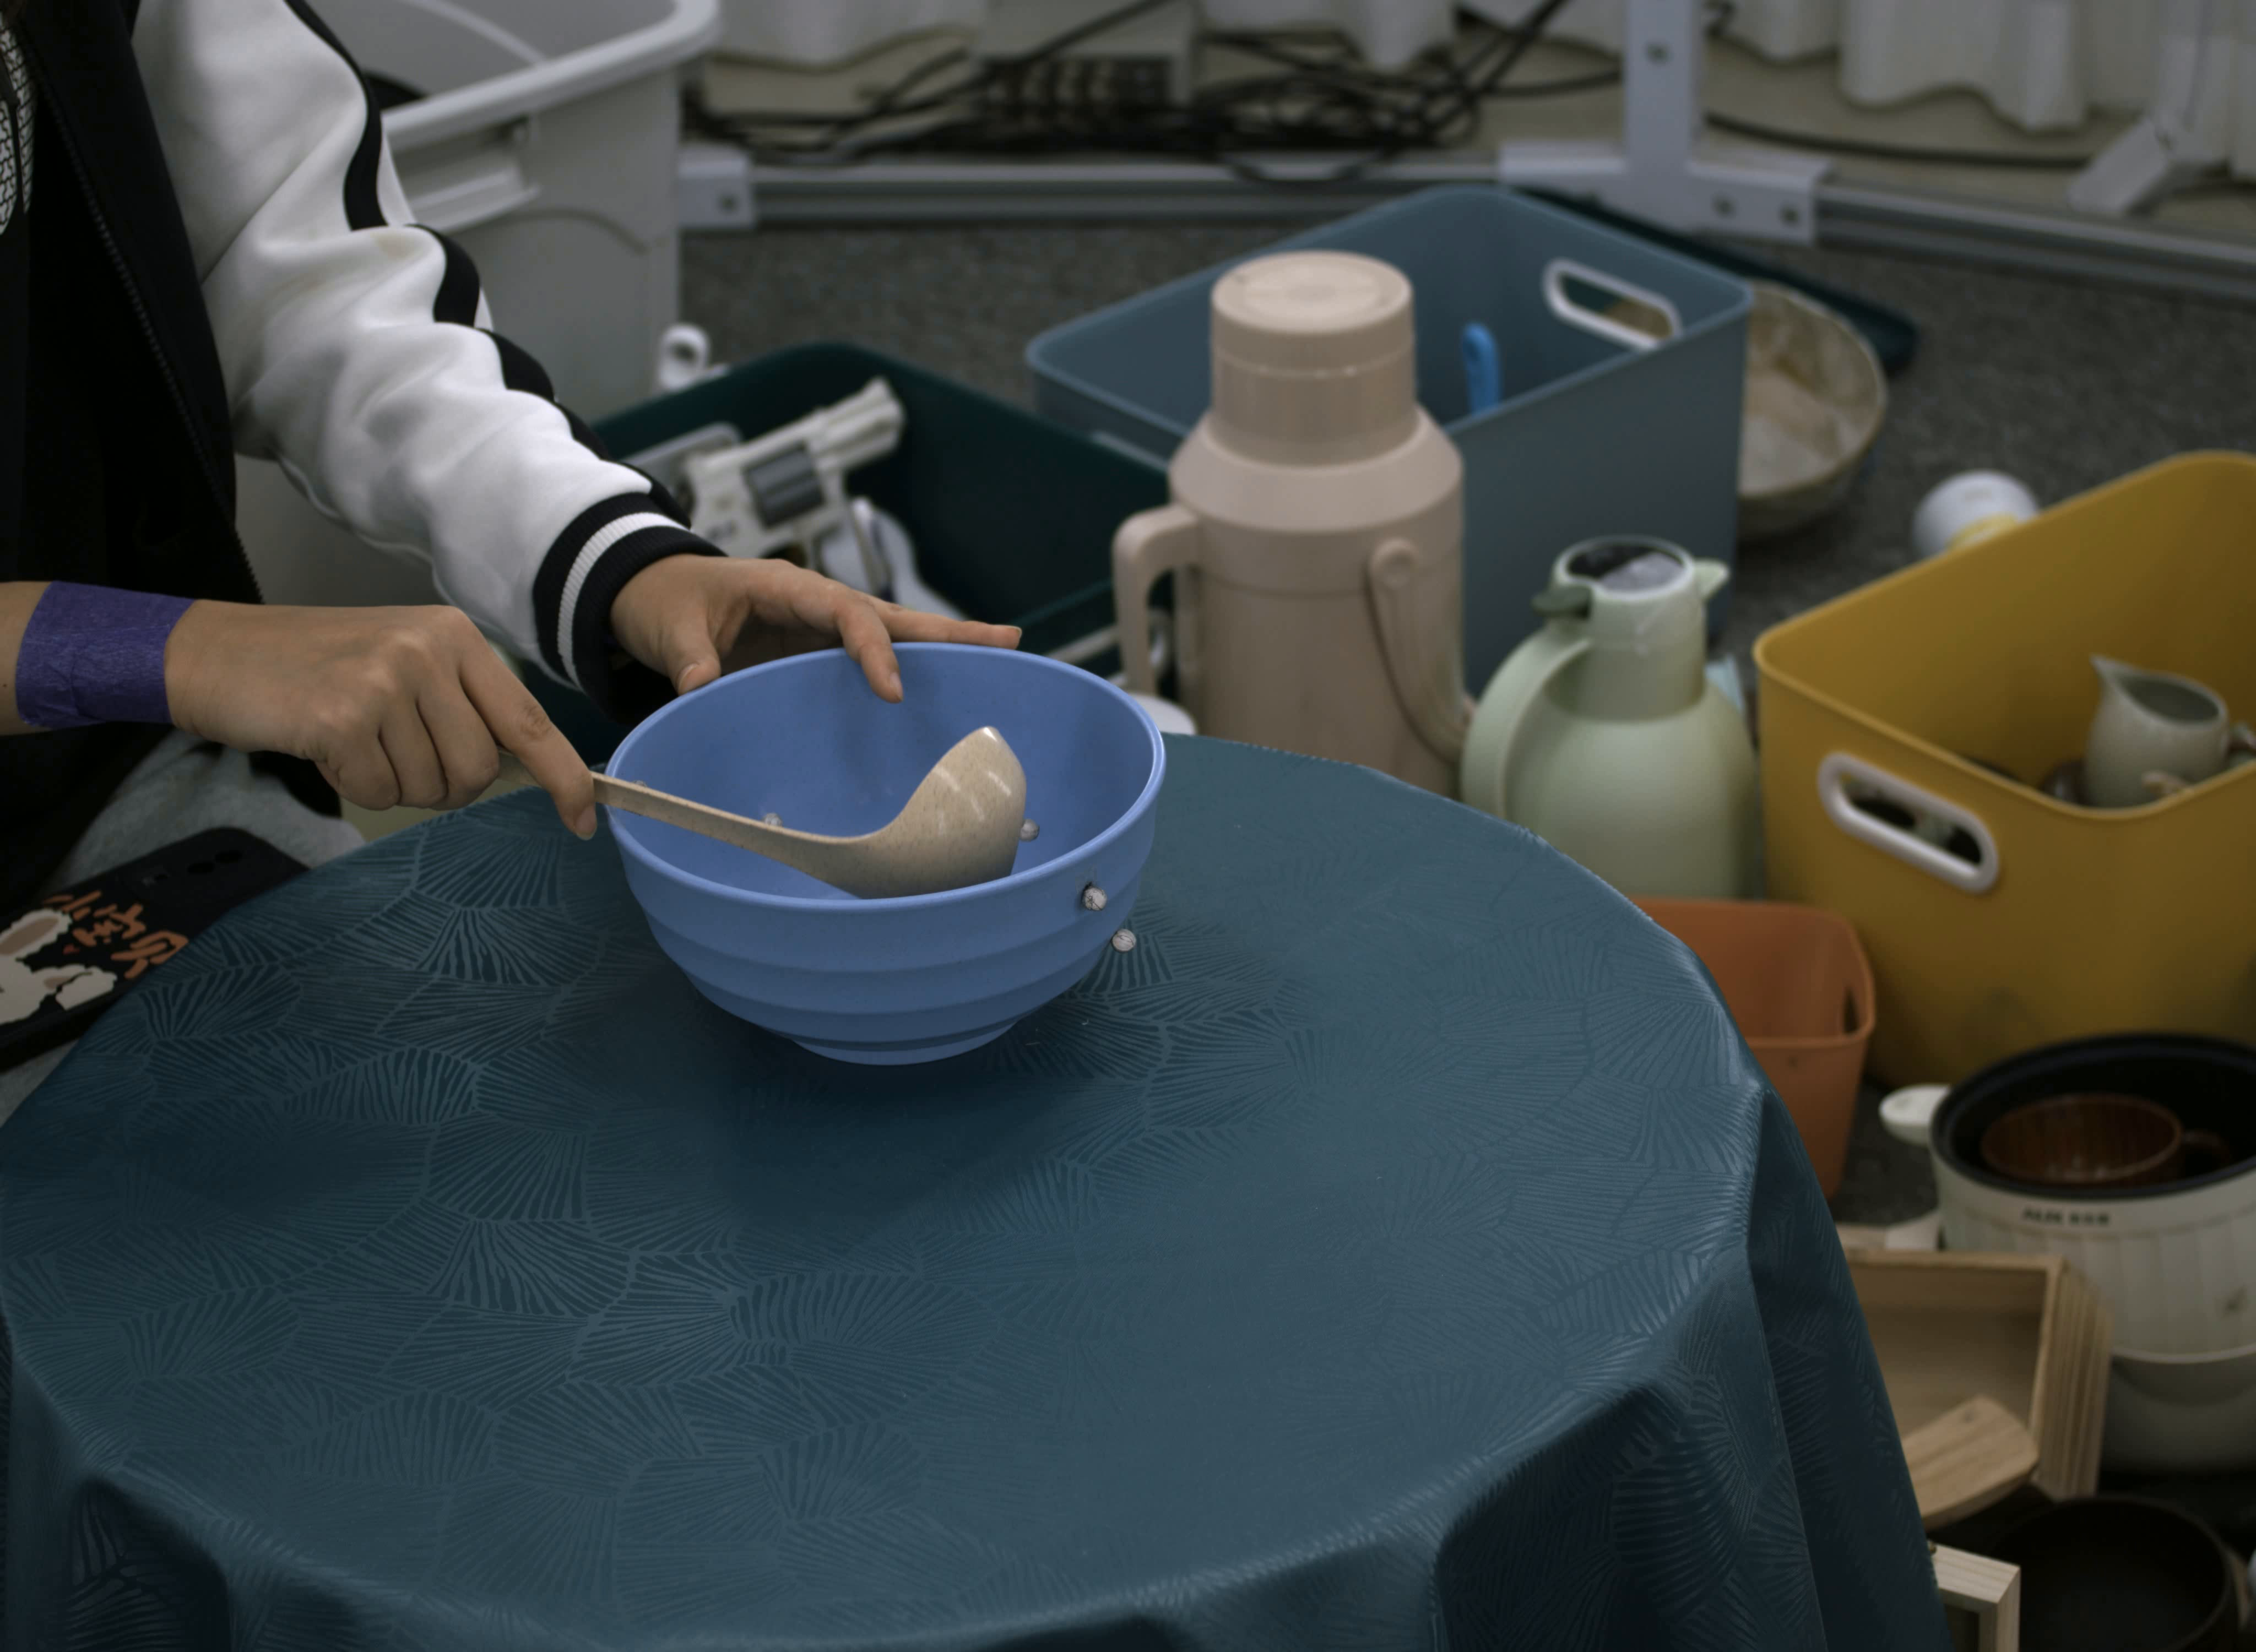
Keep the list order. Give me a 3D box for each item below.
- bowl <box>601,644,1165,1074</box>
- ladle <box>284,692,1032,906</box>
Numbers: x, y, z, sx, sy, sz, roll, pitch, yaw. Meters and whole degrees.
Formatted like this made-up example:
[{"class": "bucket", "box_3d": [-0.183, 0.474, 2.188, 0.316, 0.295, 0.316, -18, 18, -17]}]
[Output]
[{"class": "bowl", "box_3d": [-0.081, 0.023, 1.964, 0.195, 0.094, 0.199, -3, 28, 2]}, {"class": "ladle", "box_3d": [-0.158, -0.031, 1.930, 0.253, 0.071, 0.074, 17, 50, -6]}]
